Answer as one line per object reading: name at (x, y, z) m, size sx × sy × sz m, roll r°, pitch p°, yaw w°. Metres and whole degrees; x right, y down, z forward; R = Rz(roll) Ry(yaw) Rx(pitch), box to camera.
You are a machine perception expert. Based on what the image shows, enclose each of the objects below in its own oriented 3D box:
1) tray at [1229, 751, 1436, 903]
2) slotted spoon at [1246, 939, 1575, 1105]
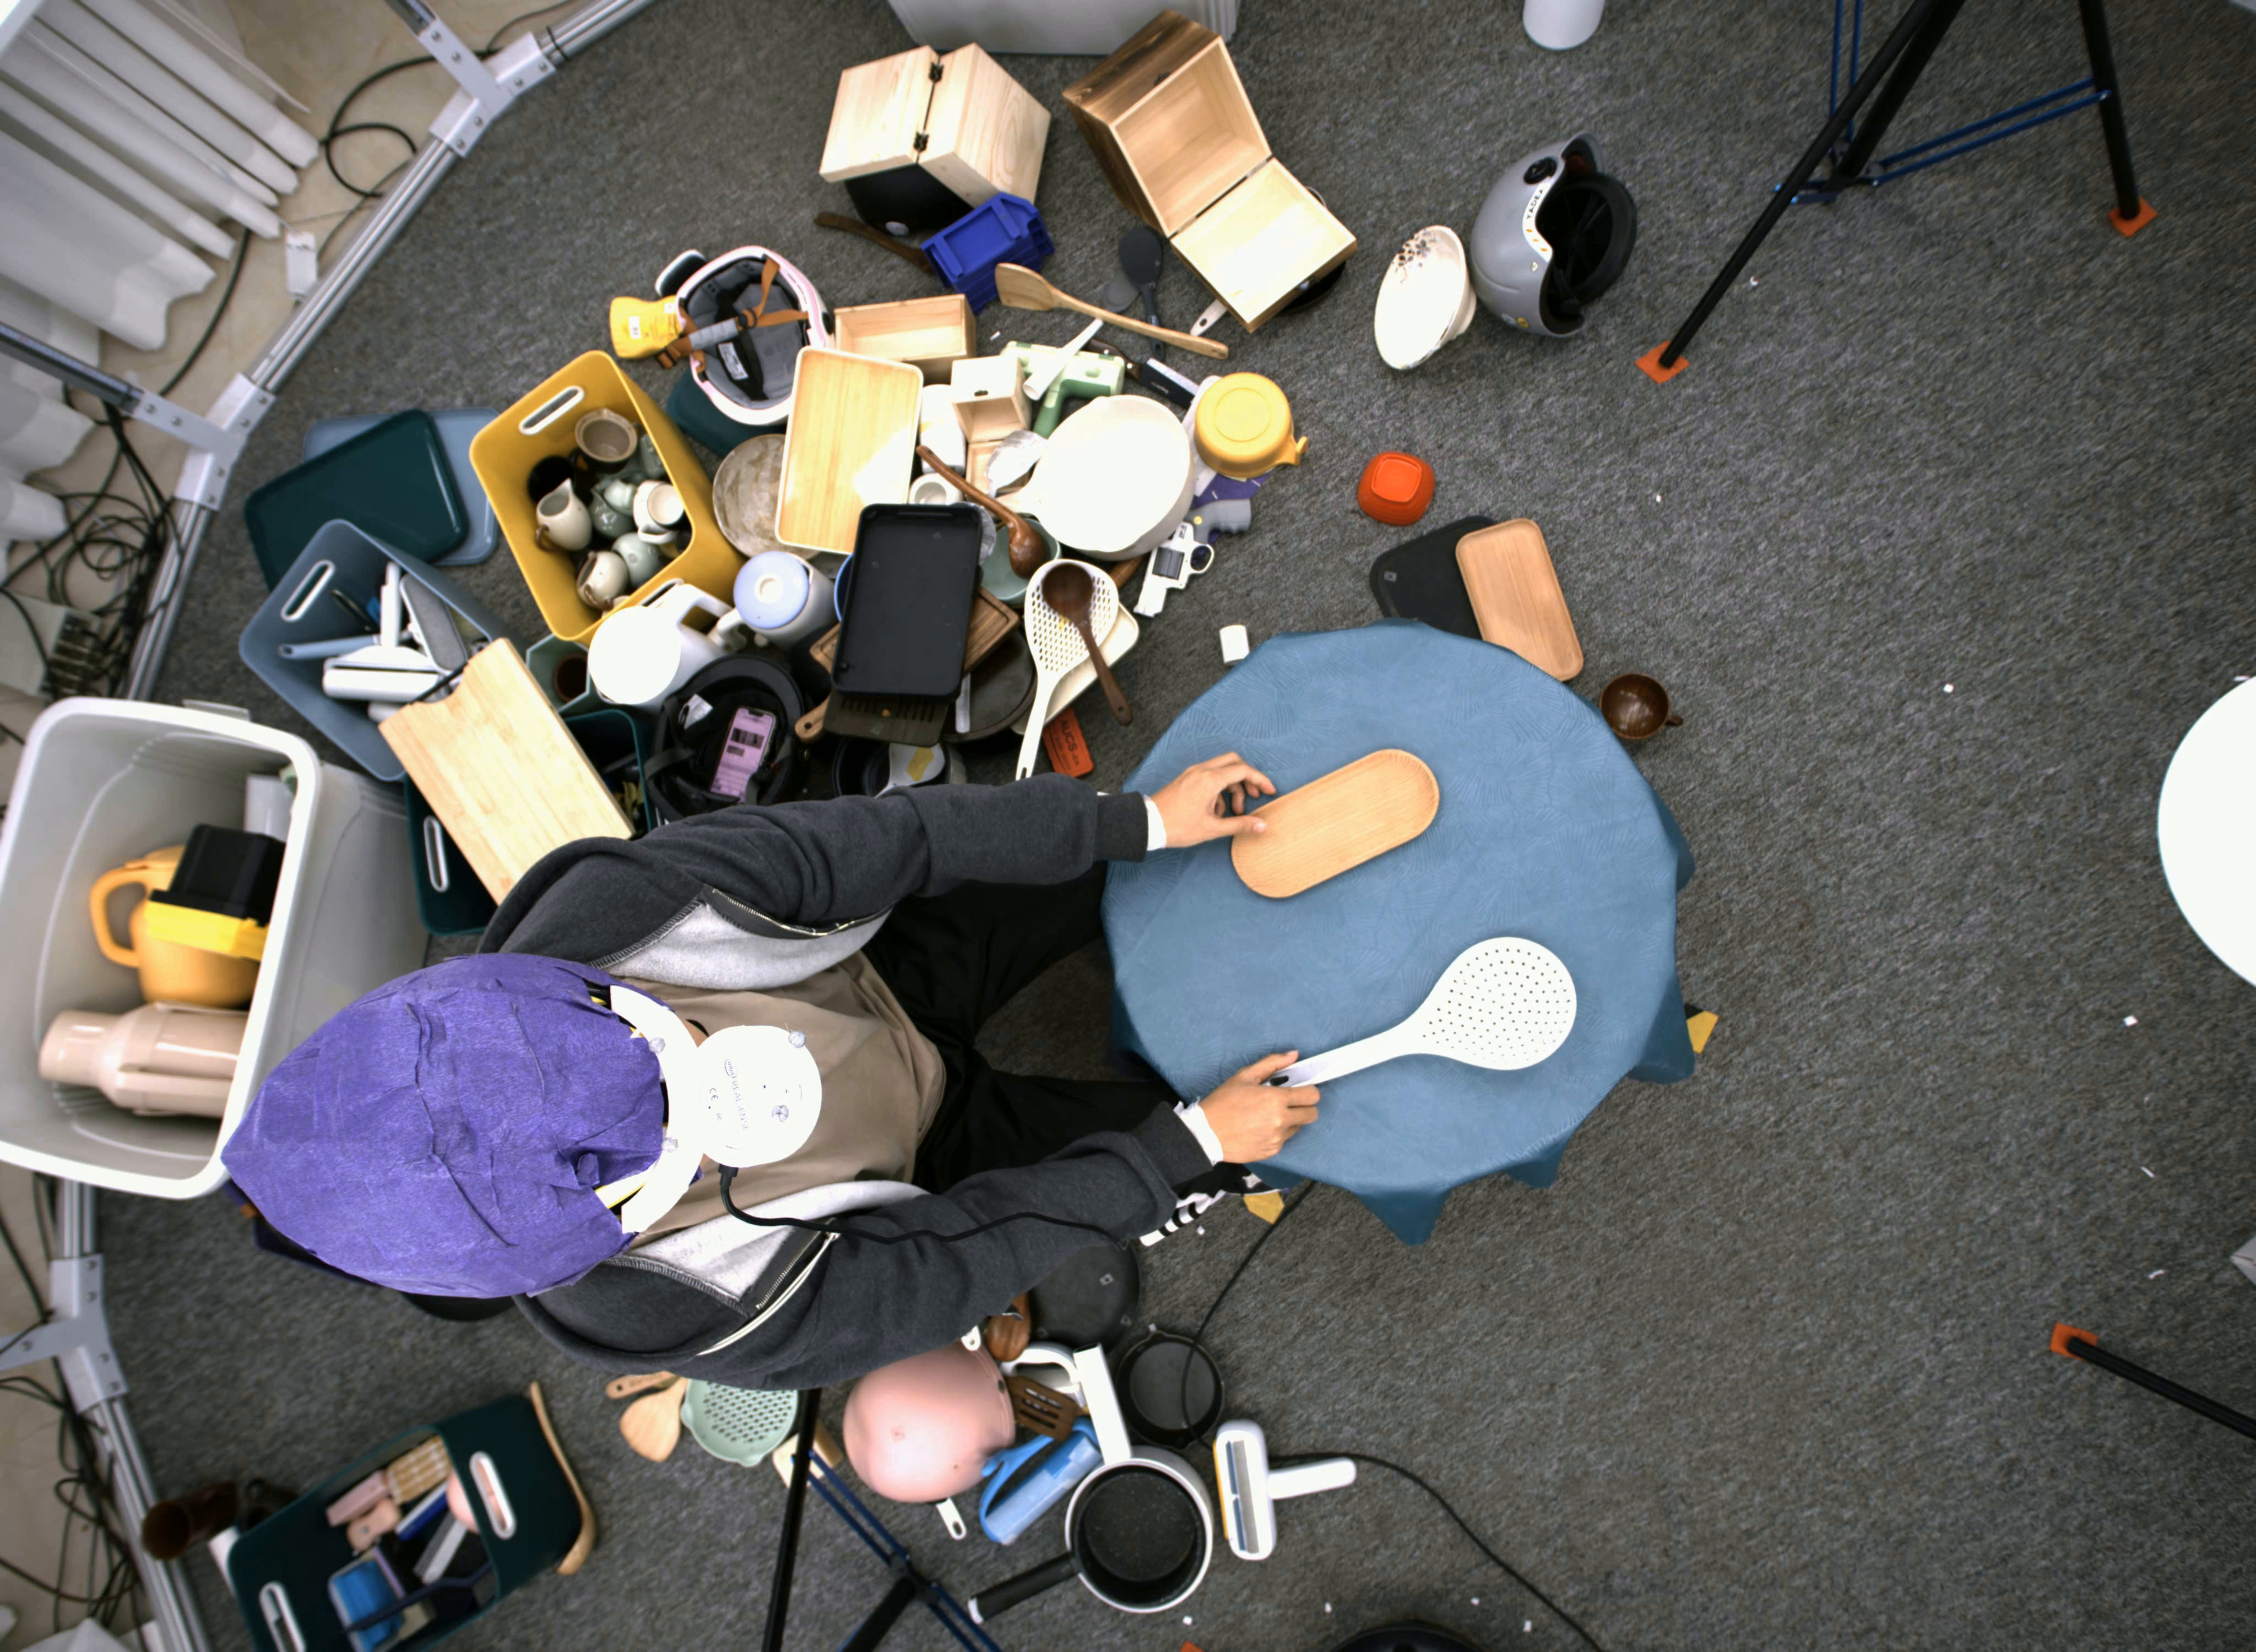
tray at (0.216, 0.000, 1.465) m, size 0.232 × 0.020 × 0.101 m, roll -28°, pitch 81°, yaw 9°
slotted spoon at (0.286, 0.219, 1.421) m, size 0.352 × 0.046 × 0.133 m, roll -20°, pitch 61°, yaw 10°
